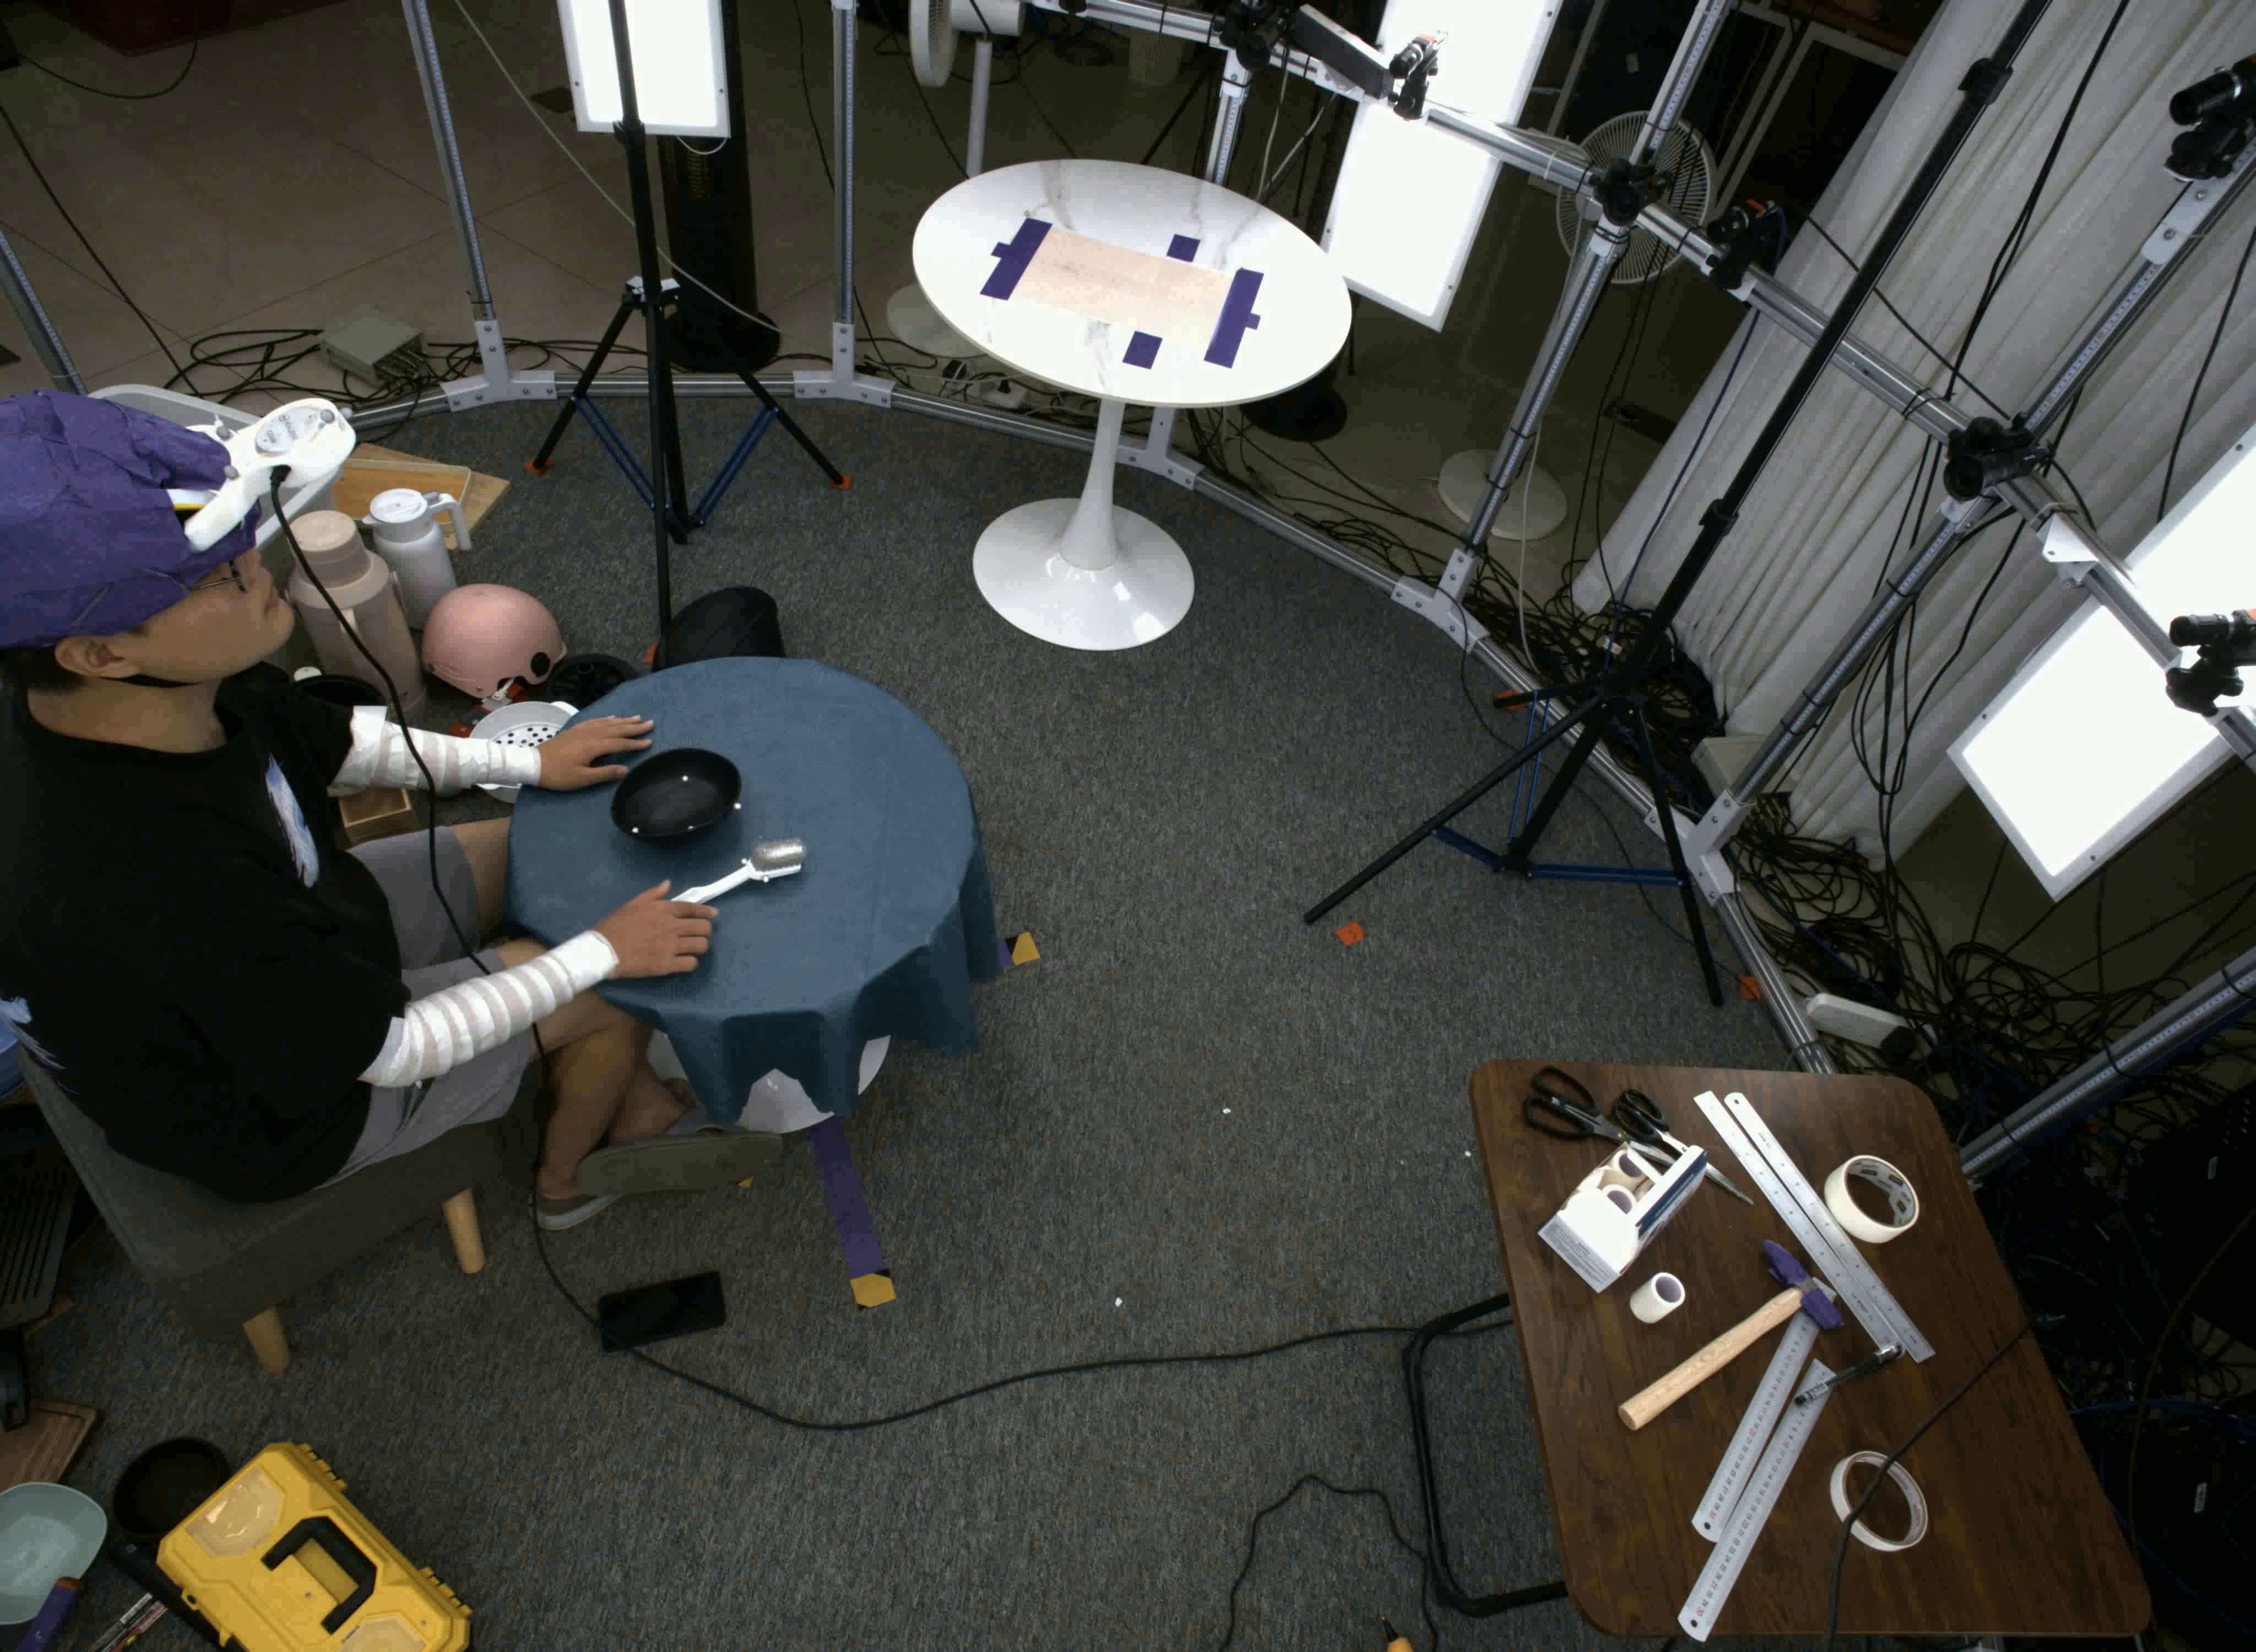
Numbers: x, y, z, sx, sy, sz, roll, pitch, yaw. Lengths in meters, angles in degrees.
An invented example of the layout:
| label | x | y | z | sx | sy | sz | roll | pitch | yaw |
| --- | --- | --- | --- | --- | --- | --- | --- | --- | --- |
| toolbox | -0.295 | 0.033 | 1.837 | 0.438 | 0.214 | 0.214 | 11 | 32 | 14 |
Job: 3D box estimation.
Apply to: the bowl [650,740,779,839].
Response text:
| label | x | y | z | sx | sy | sz | roll | pitch | yaw |
| --- | --- | --- | --- | --- | --- | --- | --- | --- | --- |
| bowl | -0.539 | -0.036 | 1.691 | 0.171 | 0.068 | 0.134 | -26 | 63 | -26 |

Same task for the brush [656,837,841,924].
| label | x | y | z | sx | sy | sz | roll | pitch | yaw |
| --- | --- | --- | --- | --- | --- | --- | --- | --- | --- |
| brush | -0.481 | 0.064 | 1.641 | 0.245 | 0.051 | 0.033 | -19 | 58 | -26 |
